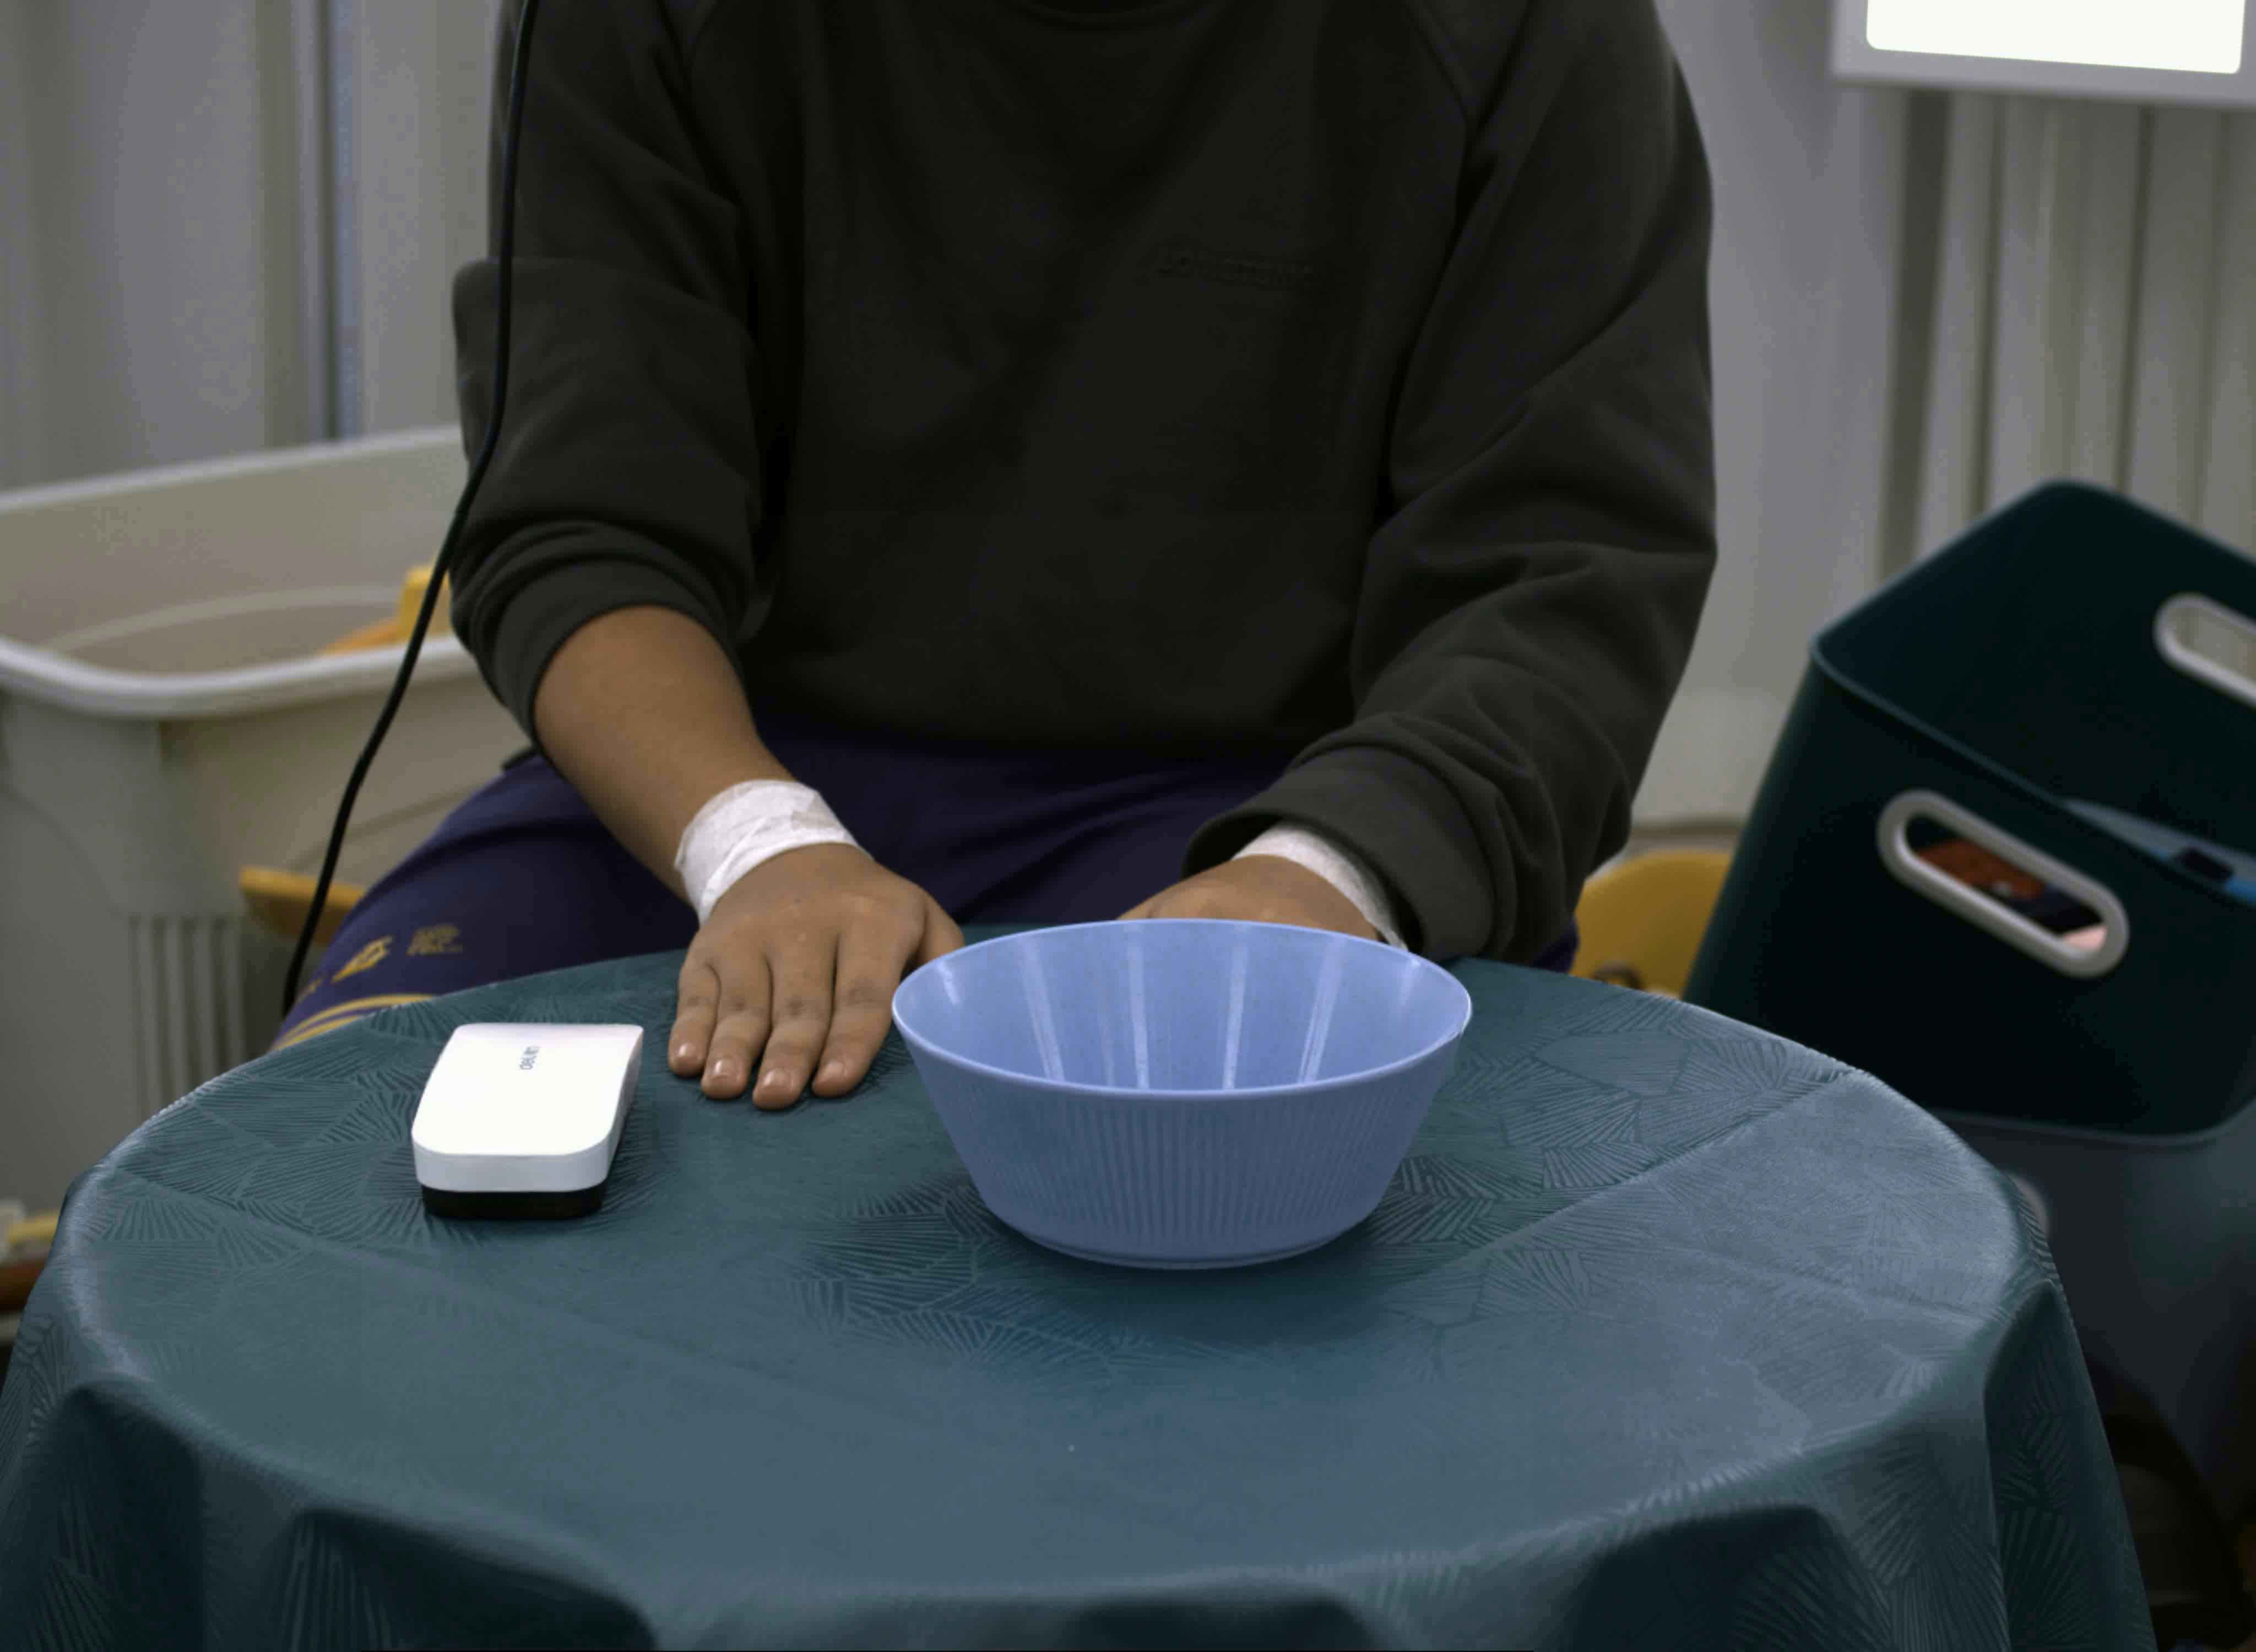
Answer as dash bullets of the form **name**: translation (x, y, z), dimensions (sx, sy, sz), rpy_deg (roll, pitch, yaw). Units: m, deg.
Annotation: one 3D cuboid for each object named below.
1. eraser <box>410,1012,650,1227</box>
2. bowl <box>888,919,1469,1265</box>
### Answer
- **eraser**: translation (-0.185, 0.087, 1.646), dimensions (0.063, 0.035, 0.130), rpy_deg (2, 18, 2)
- **bowl**: translation (0.015, 0.083, 1.596), dimensions (0.175, 0.071, 0.175), rpy_deg (1, 16, 0)
